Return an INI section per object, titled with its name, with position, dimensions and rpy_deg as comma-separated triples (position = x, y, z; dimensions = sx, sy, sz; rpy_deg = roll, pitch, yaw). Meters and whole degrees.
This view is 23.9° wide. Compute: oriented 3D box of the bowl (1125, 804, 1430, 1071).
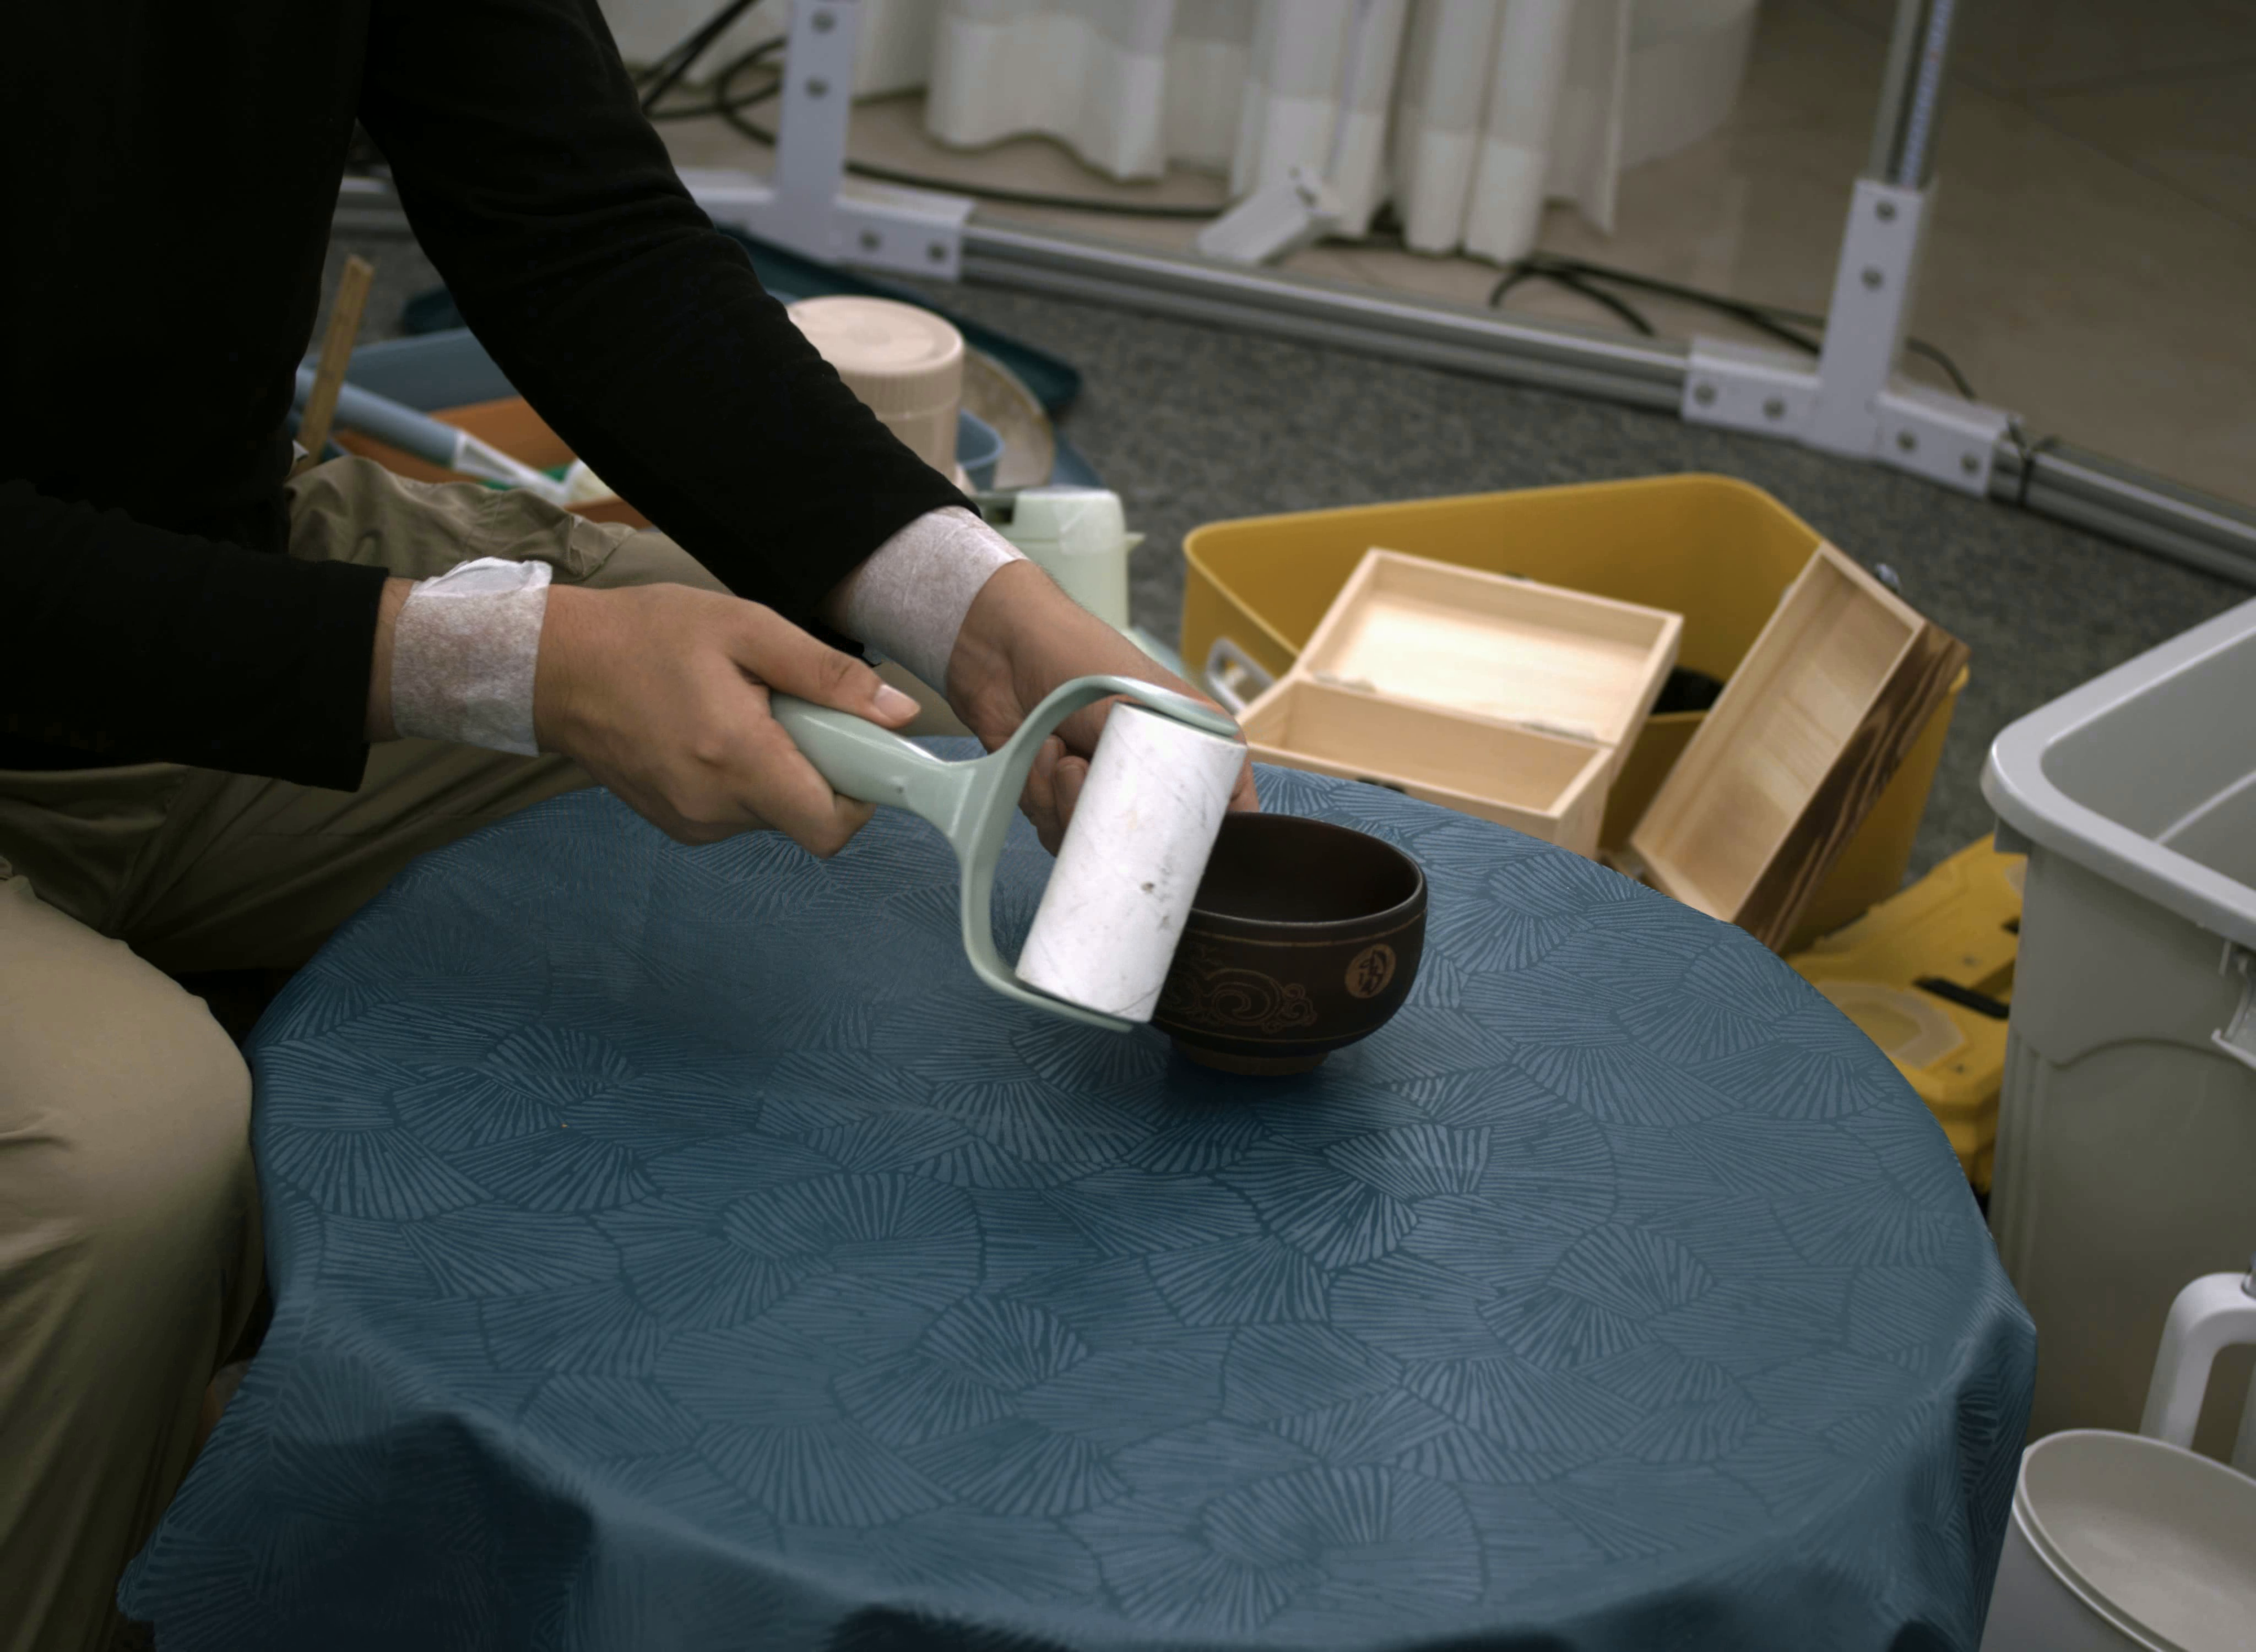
[bowl]
position = 0.046, 0.044, 1.882
dimensions = 0.117, 0.070, 0.118
rpy_deg = 3, 20, -2

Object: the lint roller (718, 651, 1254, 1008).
[lint roller]
position = -0.059, -0.020, 1.817
dimensions = 0.198, 0.117, 0.048
rpy_deg = 20, 5, 21
